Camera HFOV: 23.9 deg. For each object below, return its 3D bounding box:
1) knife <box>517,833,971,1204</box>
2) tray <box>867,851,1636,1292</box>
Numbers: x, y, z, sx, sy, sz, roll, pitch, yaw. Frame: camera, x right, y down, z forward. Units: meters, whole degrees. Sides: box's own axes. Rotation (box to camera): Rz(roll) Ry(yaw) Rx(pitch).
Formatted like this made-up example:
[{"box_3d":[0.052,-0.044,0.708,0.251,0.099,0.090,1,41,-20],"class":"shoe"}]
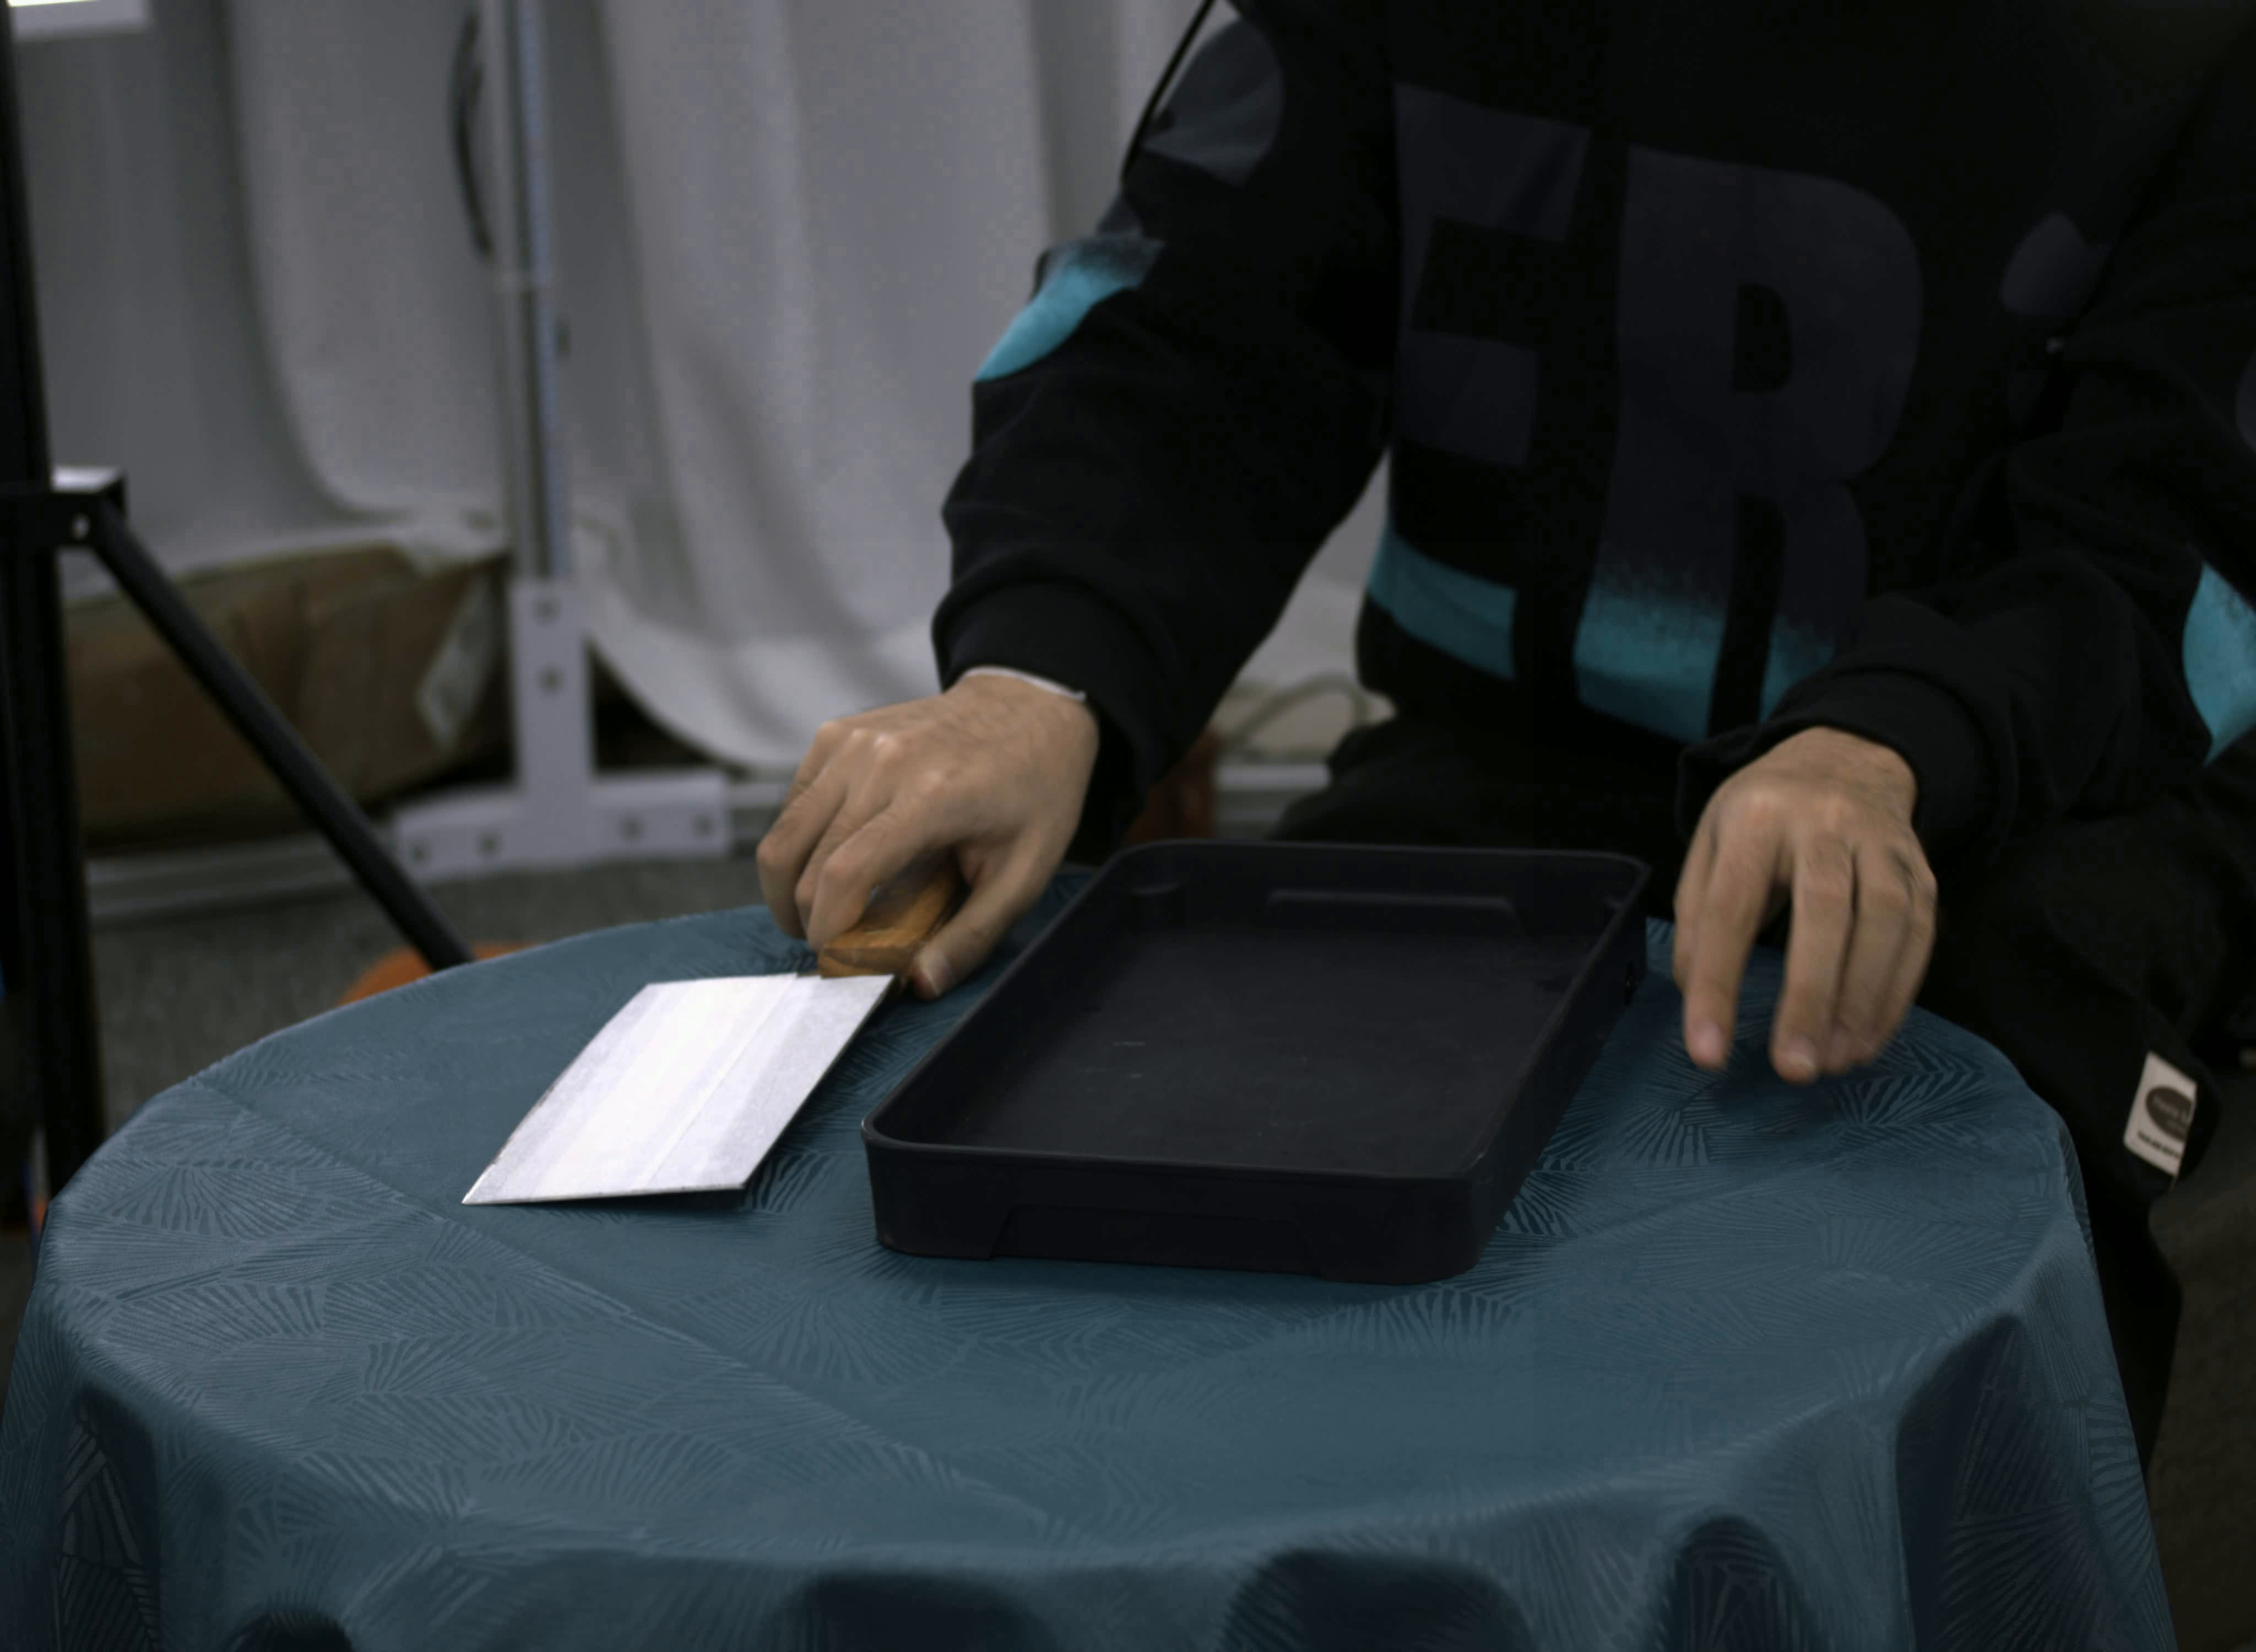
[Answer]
[{"box_3d":[-0.122,0.061,1.705,0.093,0.021,0.304,-5,18,14],"class":"knife"},{"box_3d":[0.046,0.069,1.624,0.185,0.037,0.315,1,16,14],"class":"tray"}]
